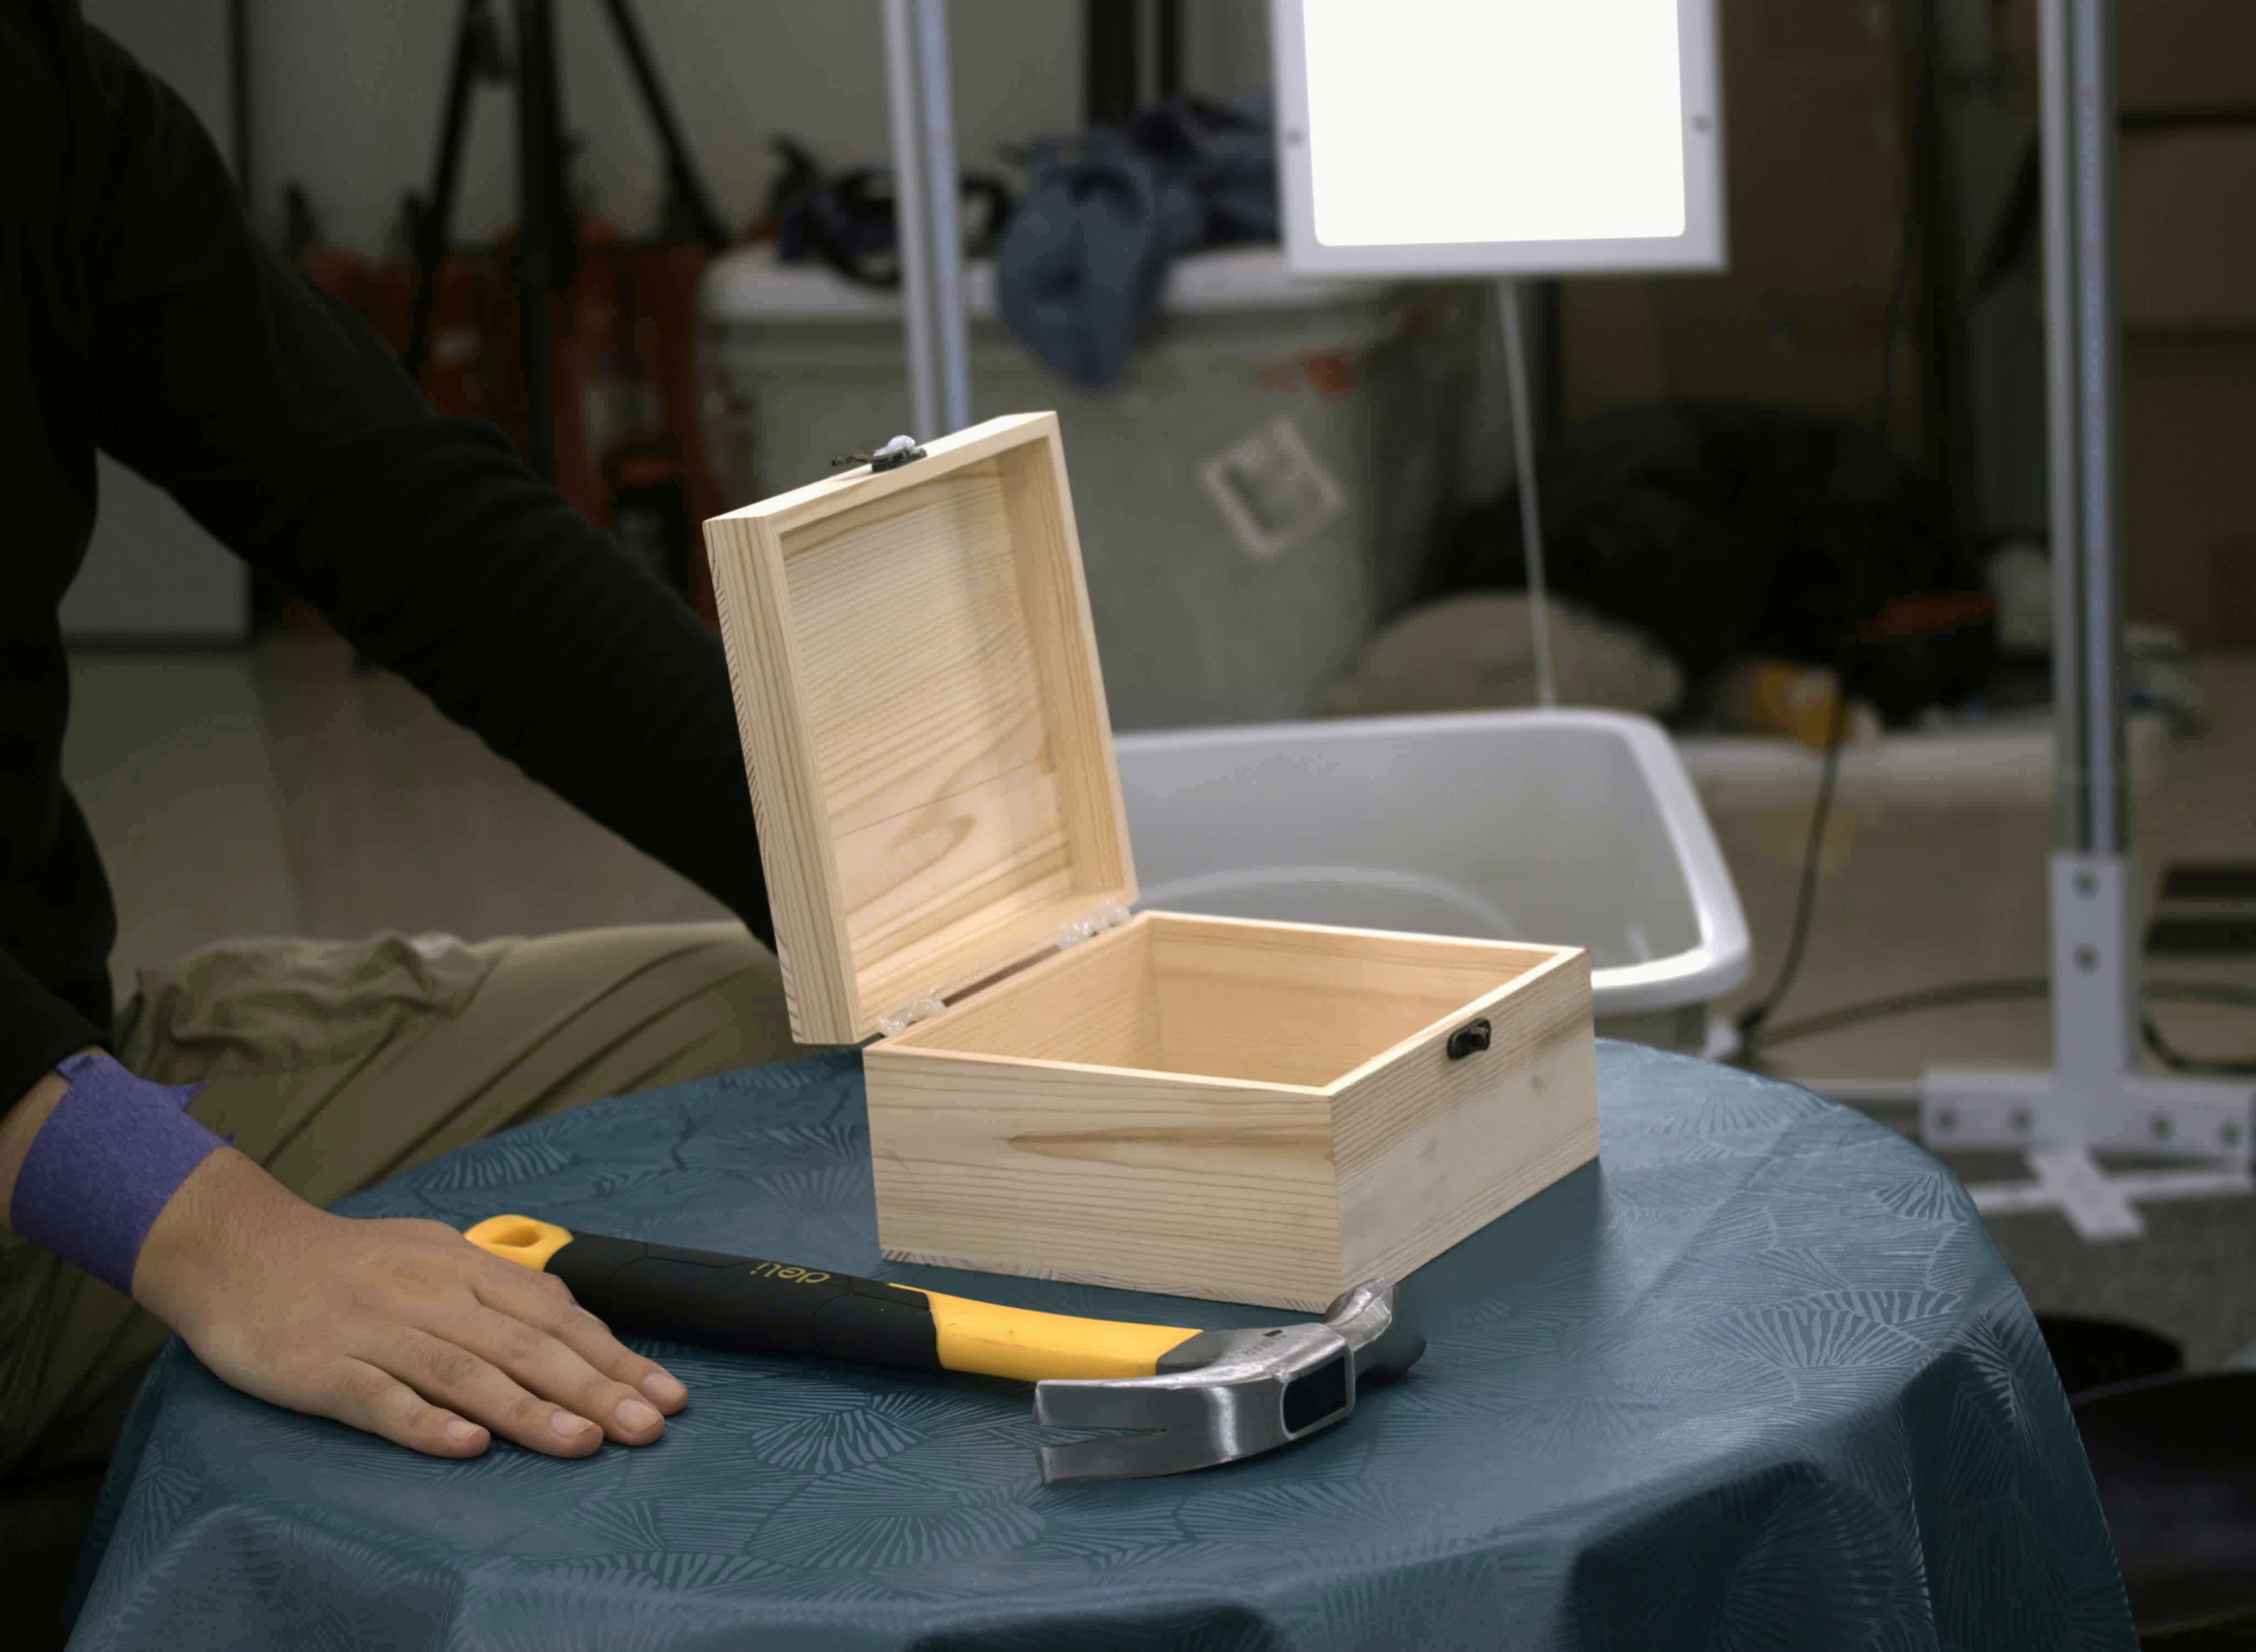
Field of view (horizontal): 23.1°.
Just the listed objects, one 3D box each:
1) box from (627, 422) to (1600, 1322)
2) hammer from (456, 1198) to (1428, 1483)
[{"bbox_3d":[0.002,0.007,1.860,0.270,0.254,0.177,4,18,33],"label":"box"},{"bbox_3d":[-0.080,0.153,1.744,0.345,0.032,0.128,7,18,37],"label":"hammer"}]
